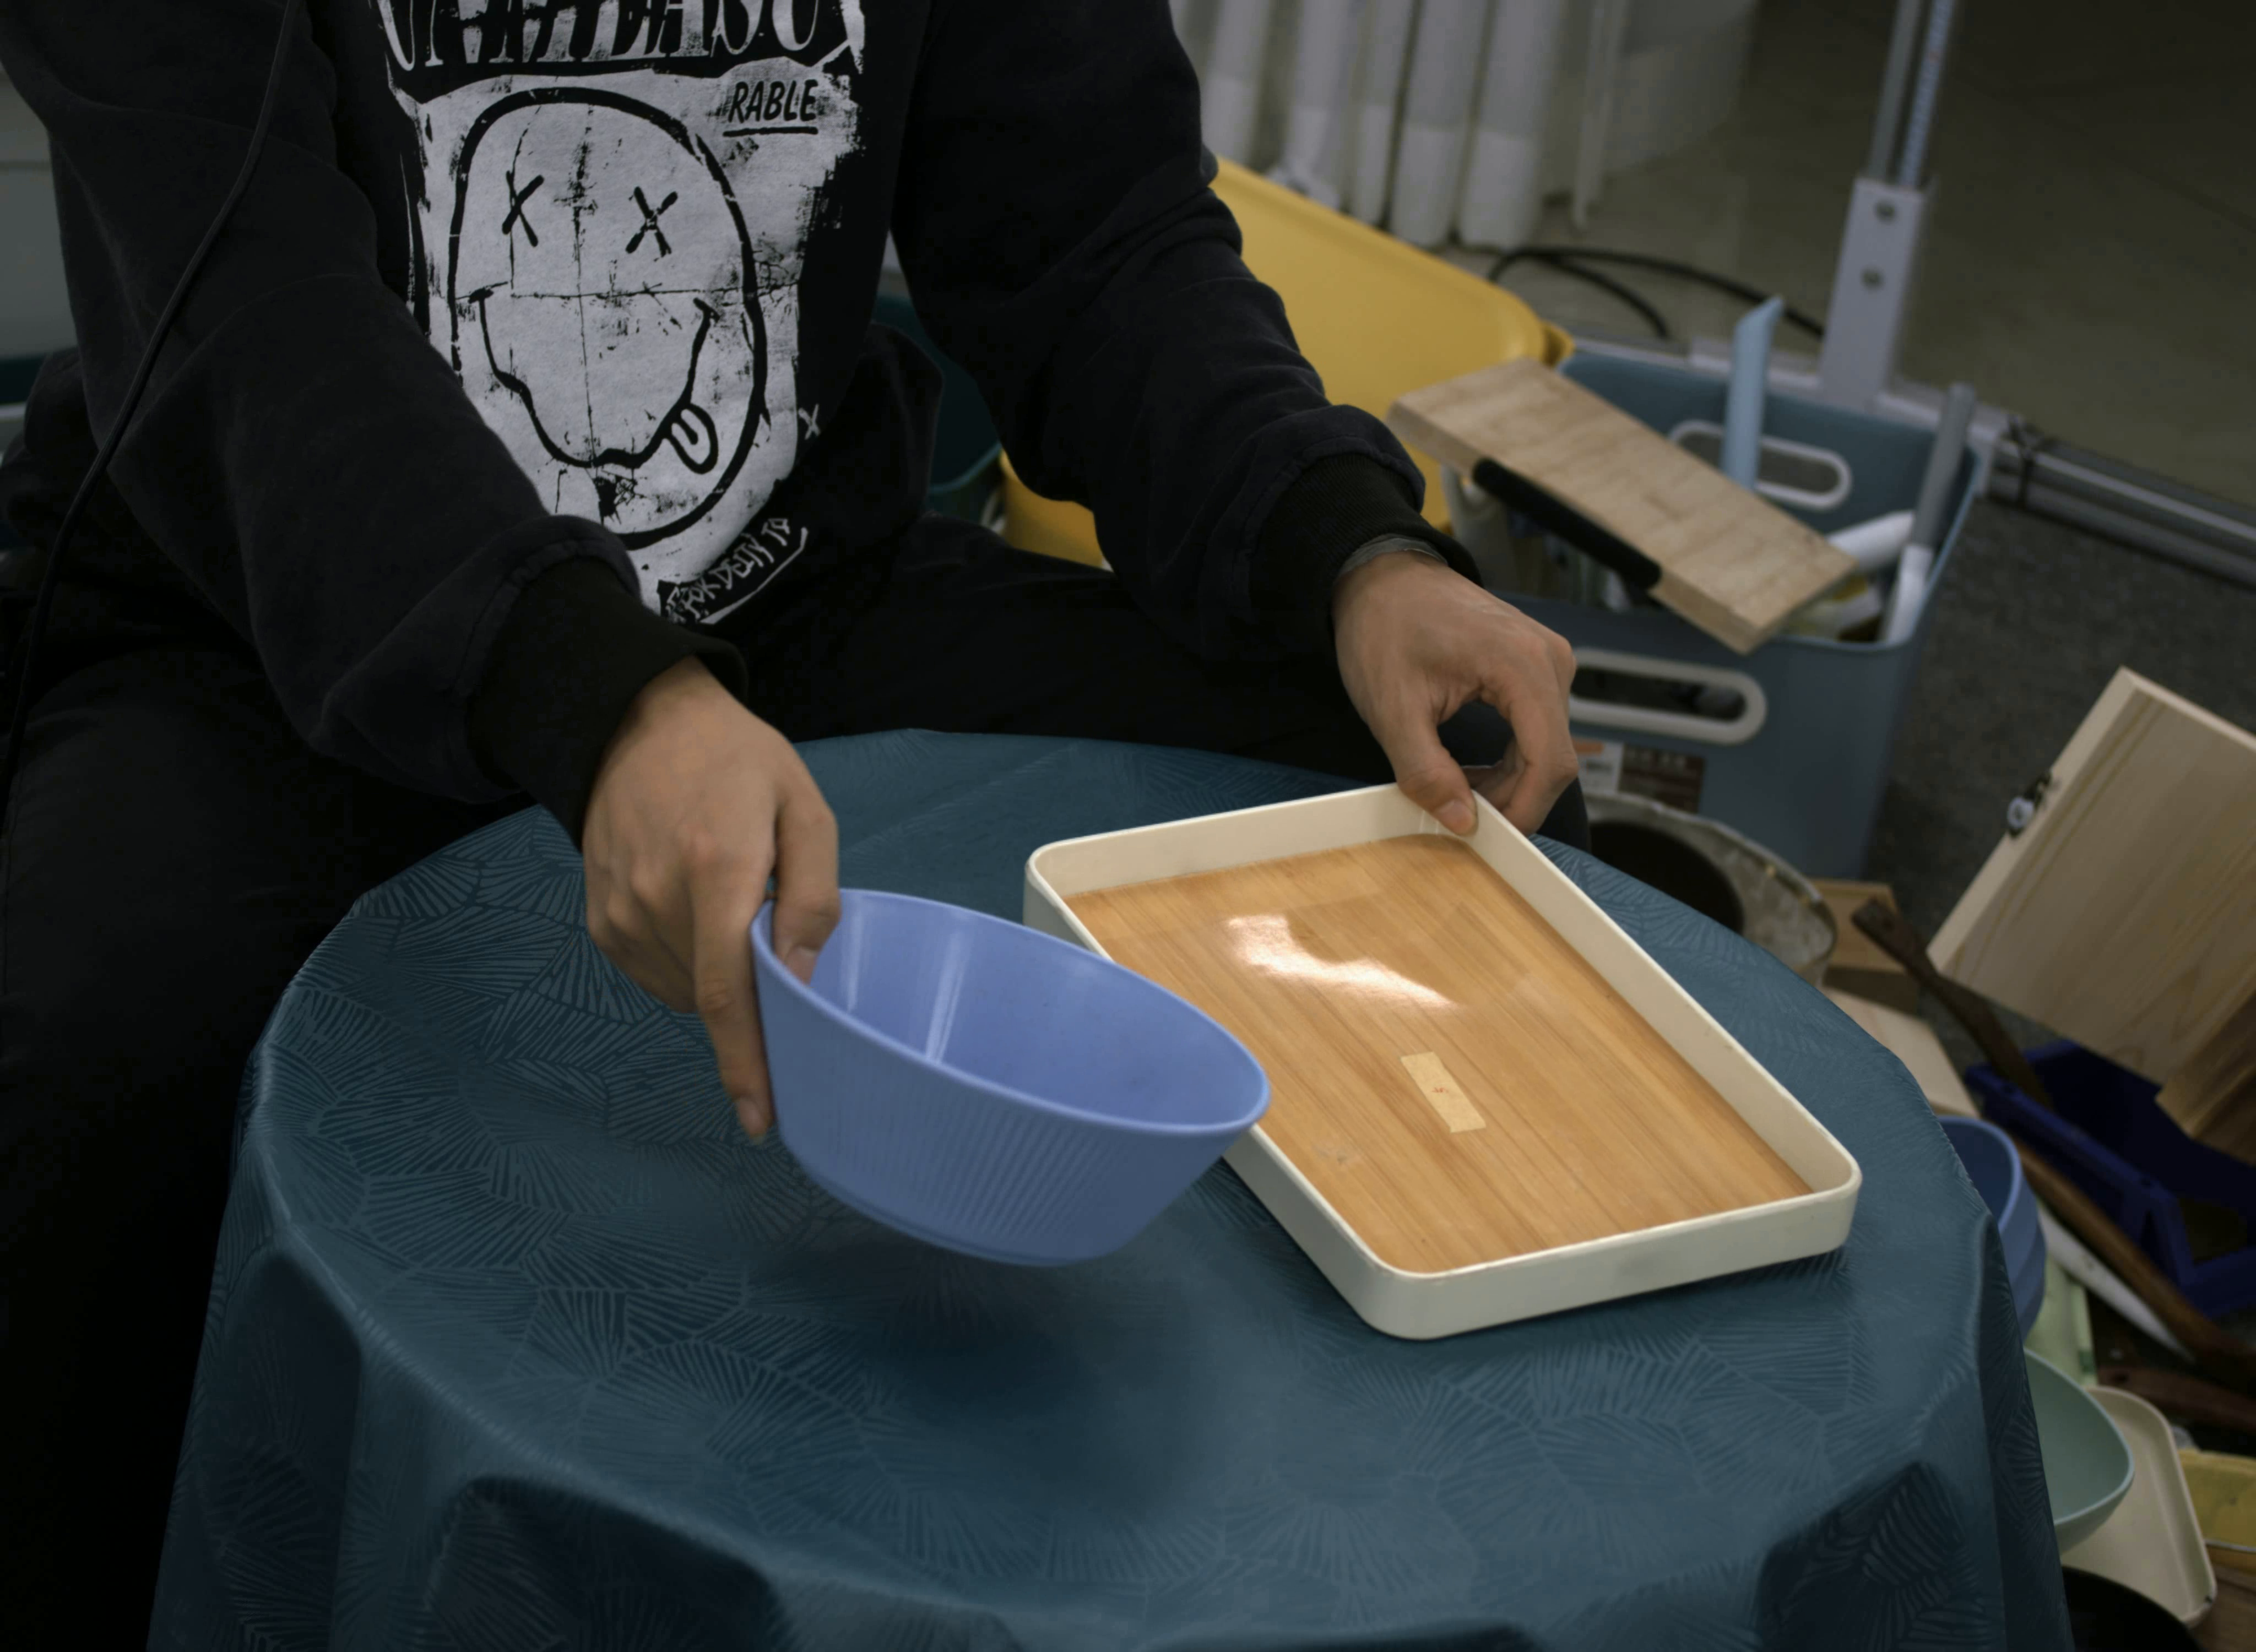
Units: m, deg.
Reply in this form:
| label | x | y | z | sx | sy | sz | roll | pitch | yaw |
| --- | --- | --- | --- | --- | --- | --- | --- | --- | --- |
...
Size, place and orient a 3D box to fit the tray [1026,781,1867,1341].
| label | x | y | z | sx | sy | sz | roll | pitch | yaw |
| --- | --- | --- | --- | --- | --- | --- | --- | --- | --- |
| tray | 0.106 | 0.076 | 1.874 | 0.190 | 0.027 | 0.303 | -10 | 32 | -24 |

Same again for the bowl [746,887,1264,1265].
| label | x | y | z | sx | sy | sz | roll | pitch | yaw |
| --- | --- | --- | --- | --- | --- | --- | --- | --- | --- |
| bowl | -0.050 | 0.085 | 1.706 | 0.175 | 0.070 | 0.177 | 19 | 15 | -6 |
